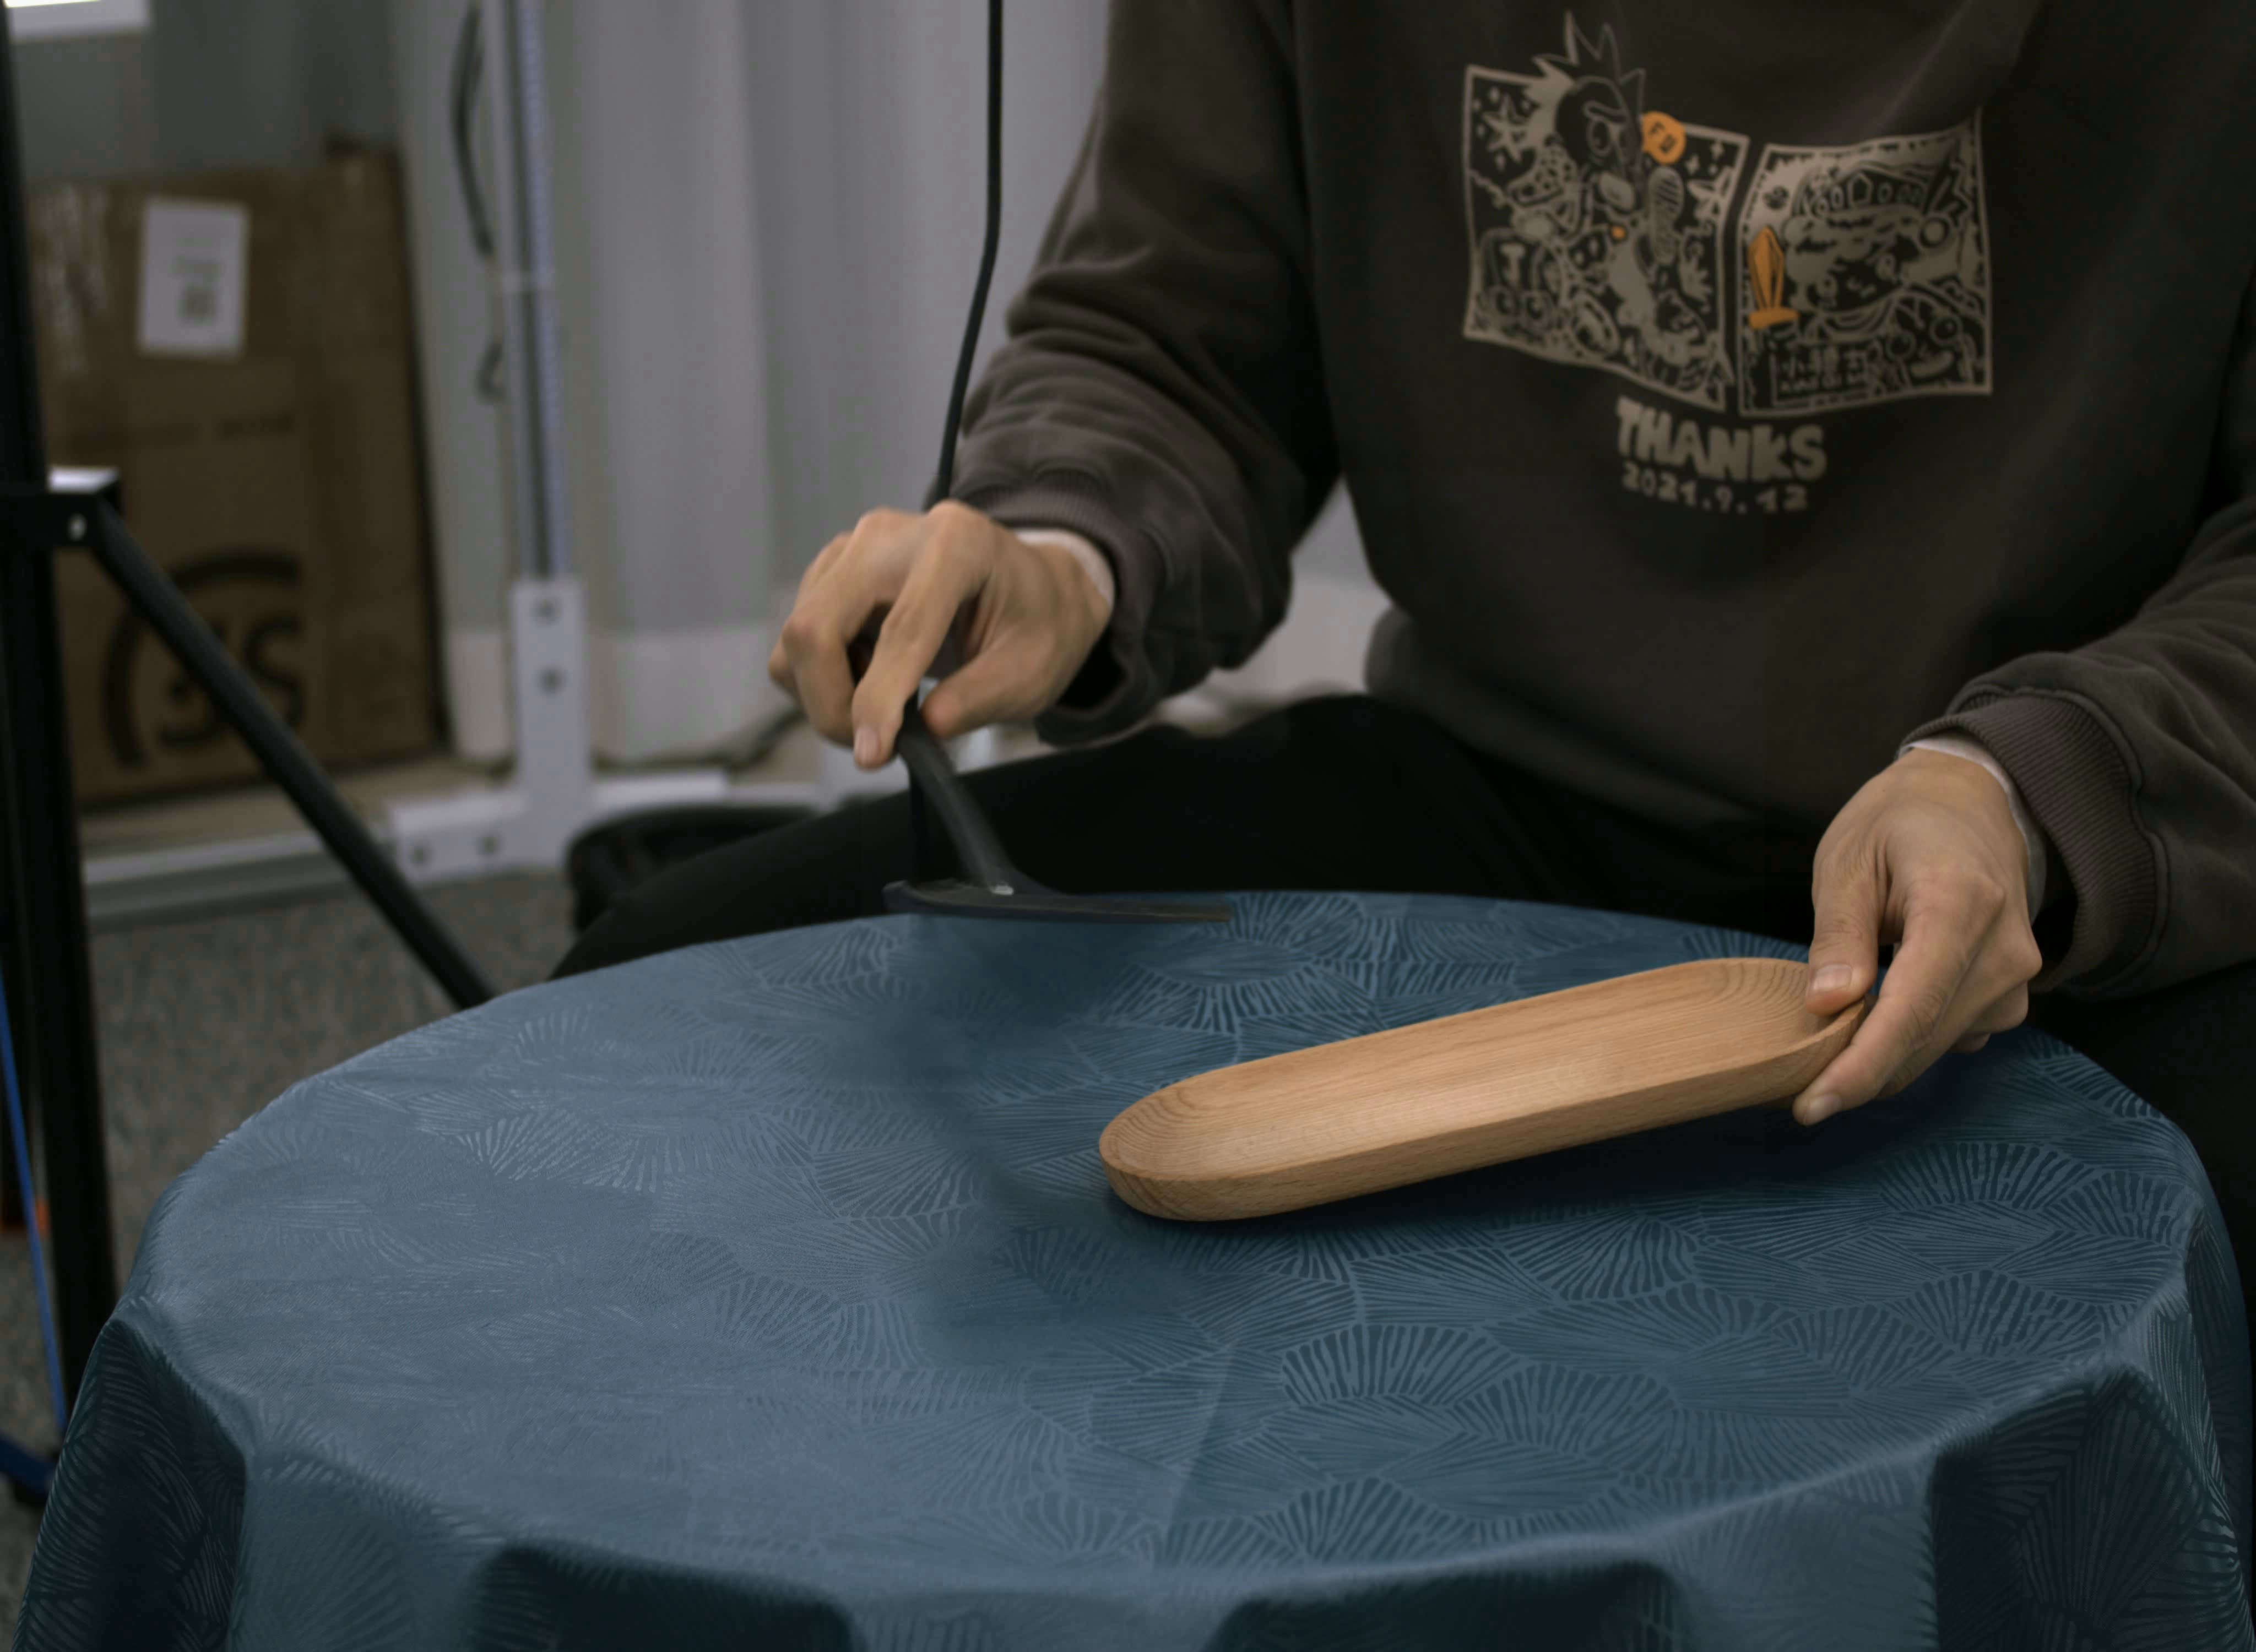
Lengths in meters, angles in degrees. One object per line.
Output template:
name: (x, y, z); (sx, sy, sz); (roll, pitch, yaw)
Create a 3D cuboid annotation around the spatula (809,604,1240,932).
spatula: (-0.056, -0.022, 1.650); (0.098, 0.040, 0.331); (5, 21, -18)

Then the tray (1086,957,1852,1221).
tray: (0.101, 0.078, 1.563); (0.229, 0.020, 0.102); (-14, 15, -4)
